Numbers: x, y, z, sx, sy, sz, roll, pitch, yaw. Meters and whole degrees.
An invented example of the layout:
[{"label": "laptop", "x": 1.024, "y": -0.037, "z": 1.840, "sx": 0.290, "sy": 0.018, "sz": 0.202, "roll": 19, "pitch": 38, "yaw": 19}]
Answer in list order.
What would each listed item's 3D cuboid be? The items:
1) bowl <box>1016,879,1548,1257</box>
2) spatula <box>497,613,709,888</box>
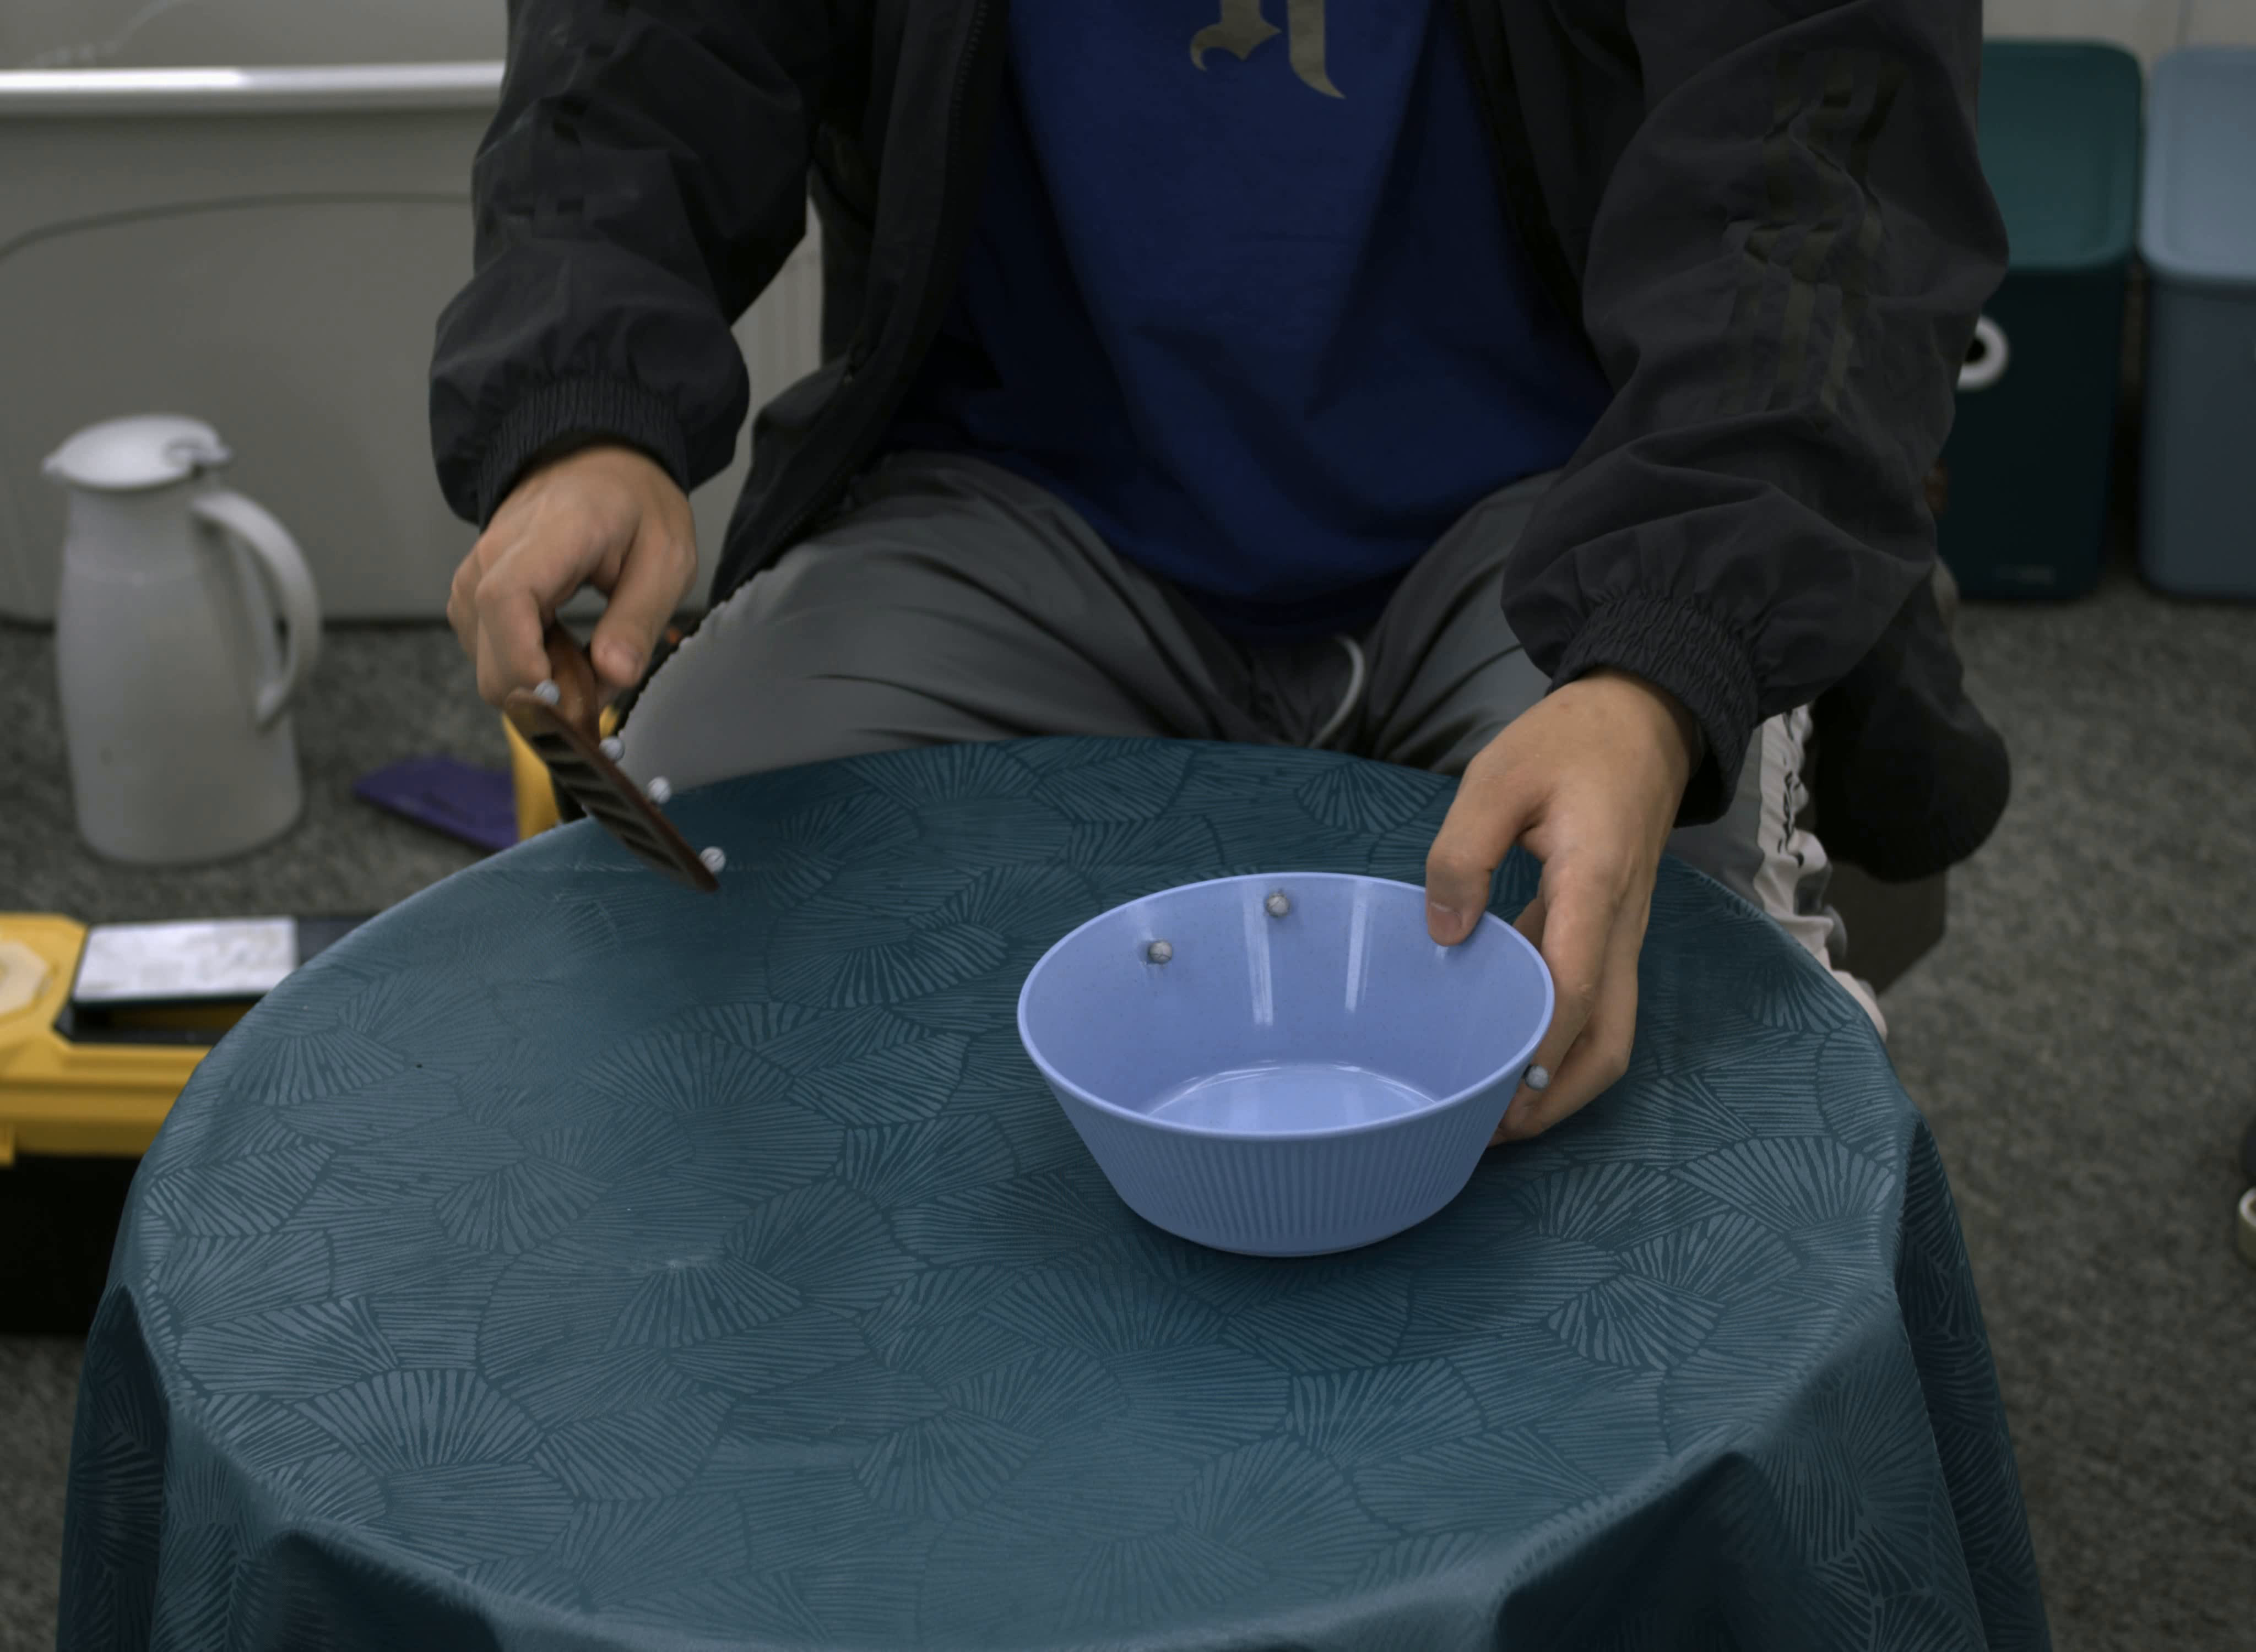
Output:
[{"label": "bowl", "x": 0.052, "y": 0.085, "z": 1.849, "sx": 0.175, "sy": 0.069, "sz": 0.178, "roll": -2, "pitch": 26, "yaw": 1}, {"label": "spatula", "x": -0.189, "y": -0.036, "z": 1.911, "sx": 0.024, "sy": 0.085, "sz": 0.388, "roll": -42, "pitch": 13, "yaw": 0}]
